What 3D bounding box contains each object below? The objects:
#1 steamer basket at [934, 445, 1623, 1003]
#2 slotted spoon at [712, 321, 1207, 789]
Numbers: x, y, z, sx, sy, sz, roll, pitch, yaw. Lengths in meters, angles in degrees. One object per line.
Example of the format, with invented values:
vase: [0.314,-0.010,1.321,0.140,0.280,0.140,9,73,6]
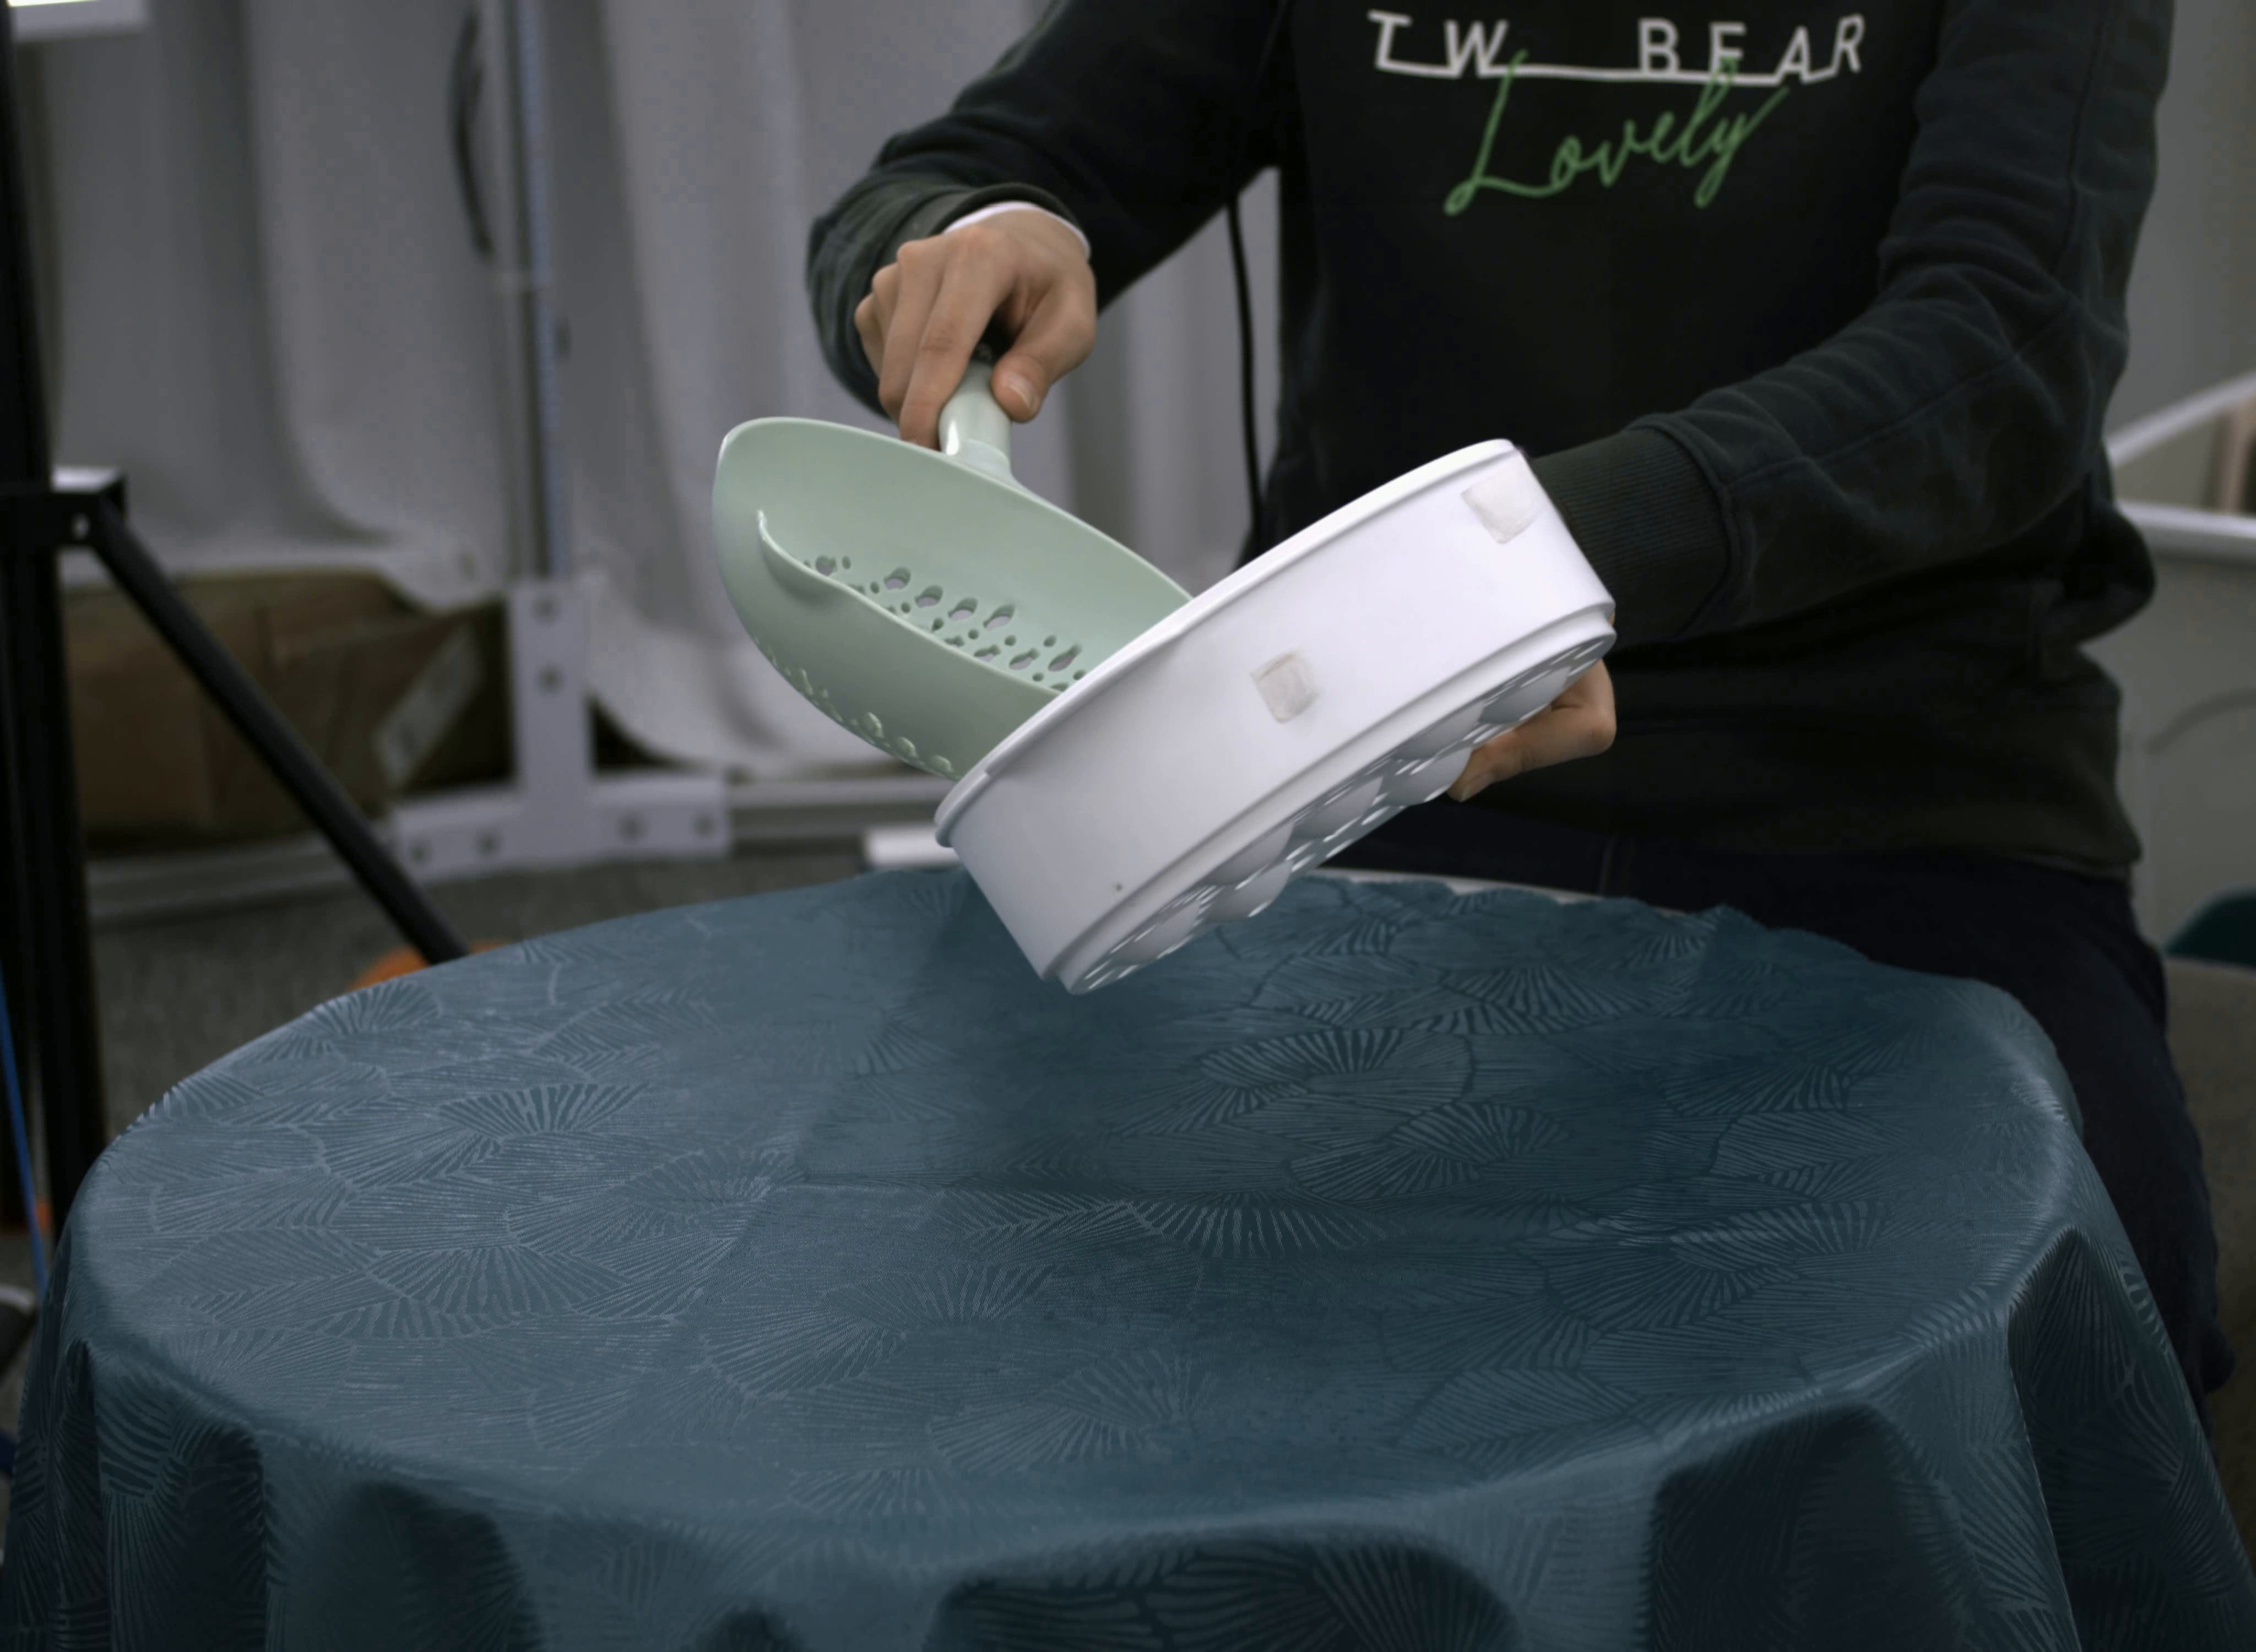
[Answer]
steamer basket: [0.046,-0.025,1.493,0.204,0.070,0.226,-35,-7,27]
slotted spoon: [-0.048,-0.100,1.624,0.167,0.076,0.361,24,26,-10]
